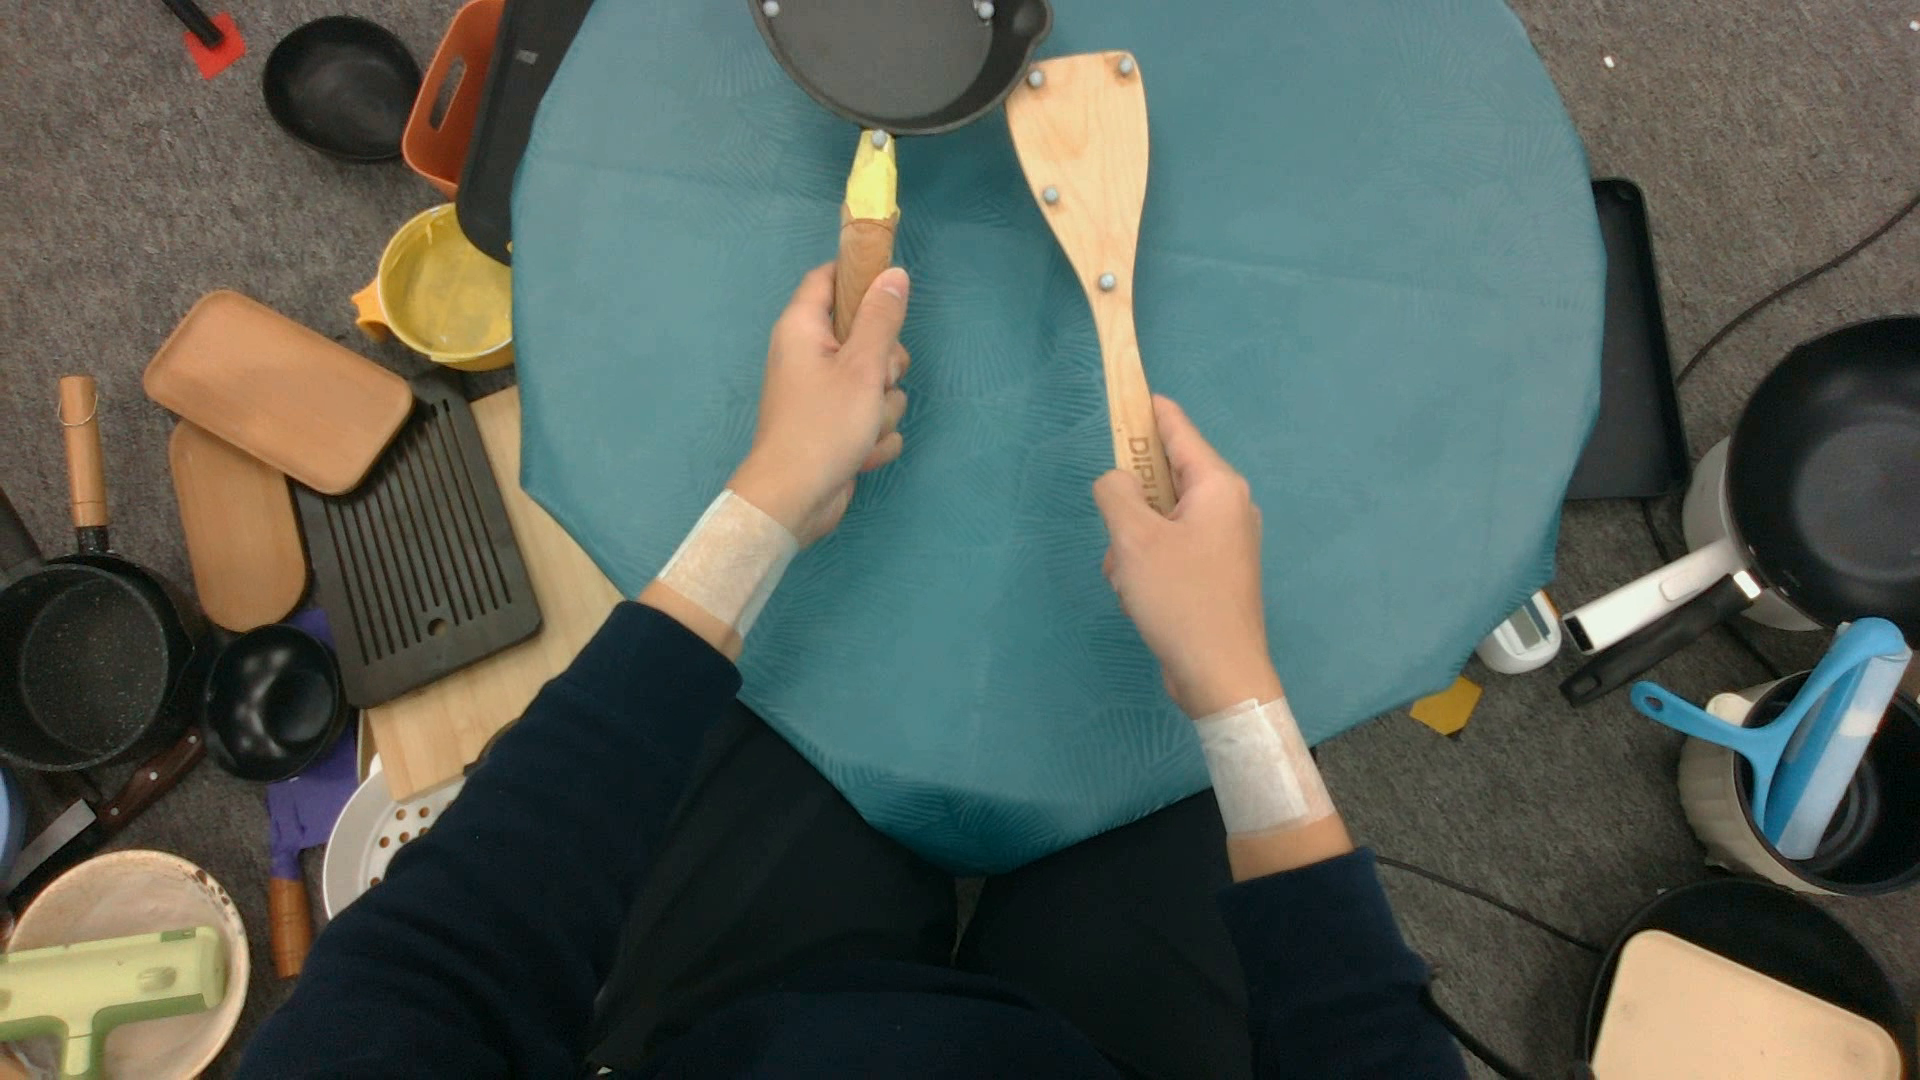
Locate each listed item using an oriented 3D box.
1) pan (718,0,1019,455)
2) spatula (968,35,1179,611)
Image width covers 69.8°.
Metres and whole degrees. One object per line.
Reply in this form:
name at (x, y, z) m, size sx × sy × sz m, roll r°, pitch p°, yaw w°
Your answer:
pan at (-0.059, -0.201, 0.690) m, size 0.169 × 0.049 × 0.324 m, roll 8°, pitch 82°, yaw -19°
spatula at (0.063, -0.119, 0.676) m, size 0.080 × 0.016 × 0.328 m, roll -4°, pitch 66°, yaw -12°
